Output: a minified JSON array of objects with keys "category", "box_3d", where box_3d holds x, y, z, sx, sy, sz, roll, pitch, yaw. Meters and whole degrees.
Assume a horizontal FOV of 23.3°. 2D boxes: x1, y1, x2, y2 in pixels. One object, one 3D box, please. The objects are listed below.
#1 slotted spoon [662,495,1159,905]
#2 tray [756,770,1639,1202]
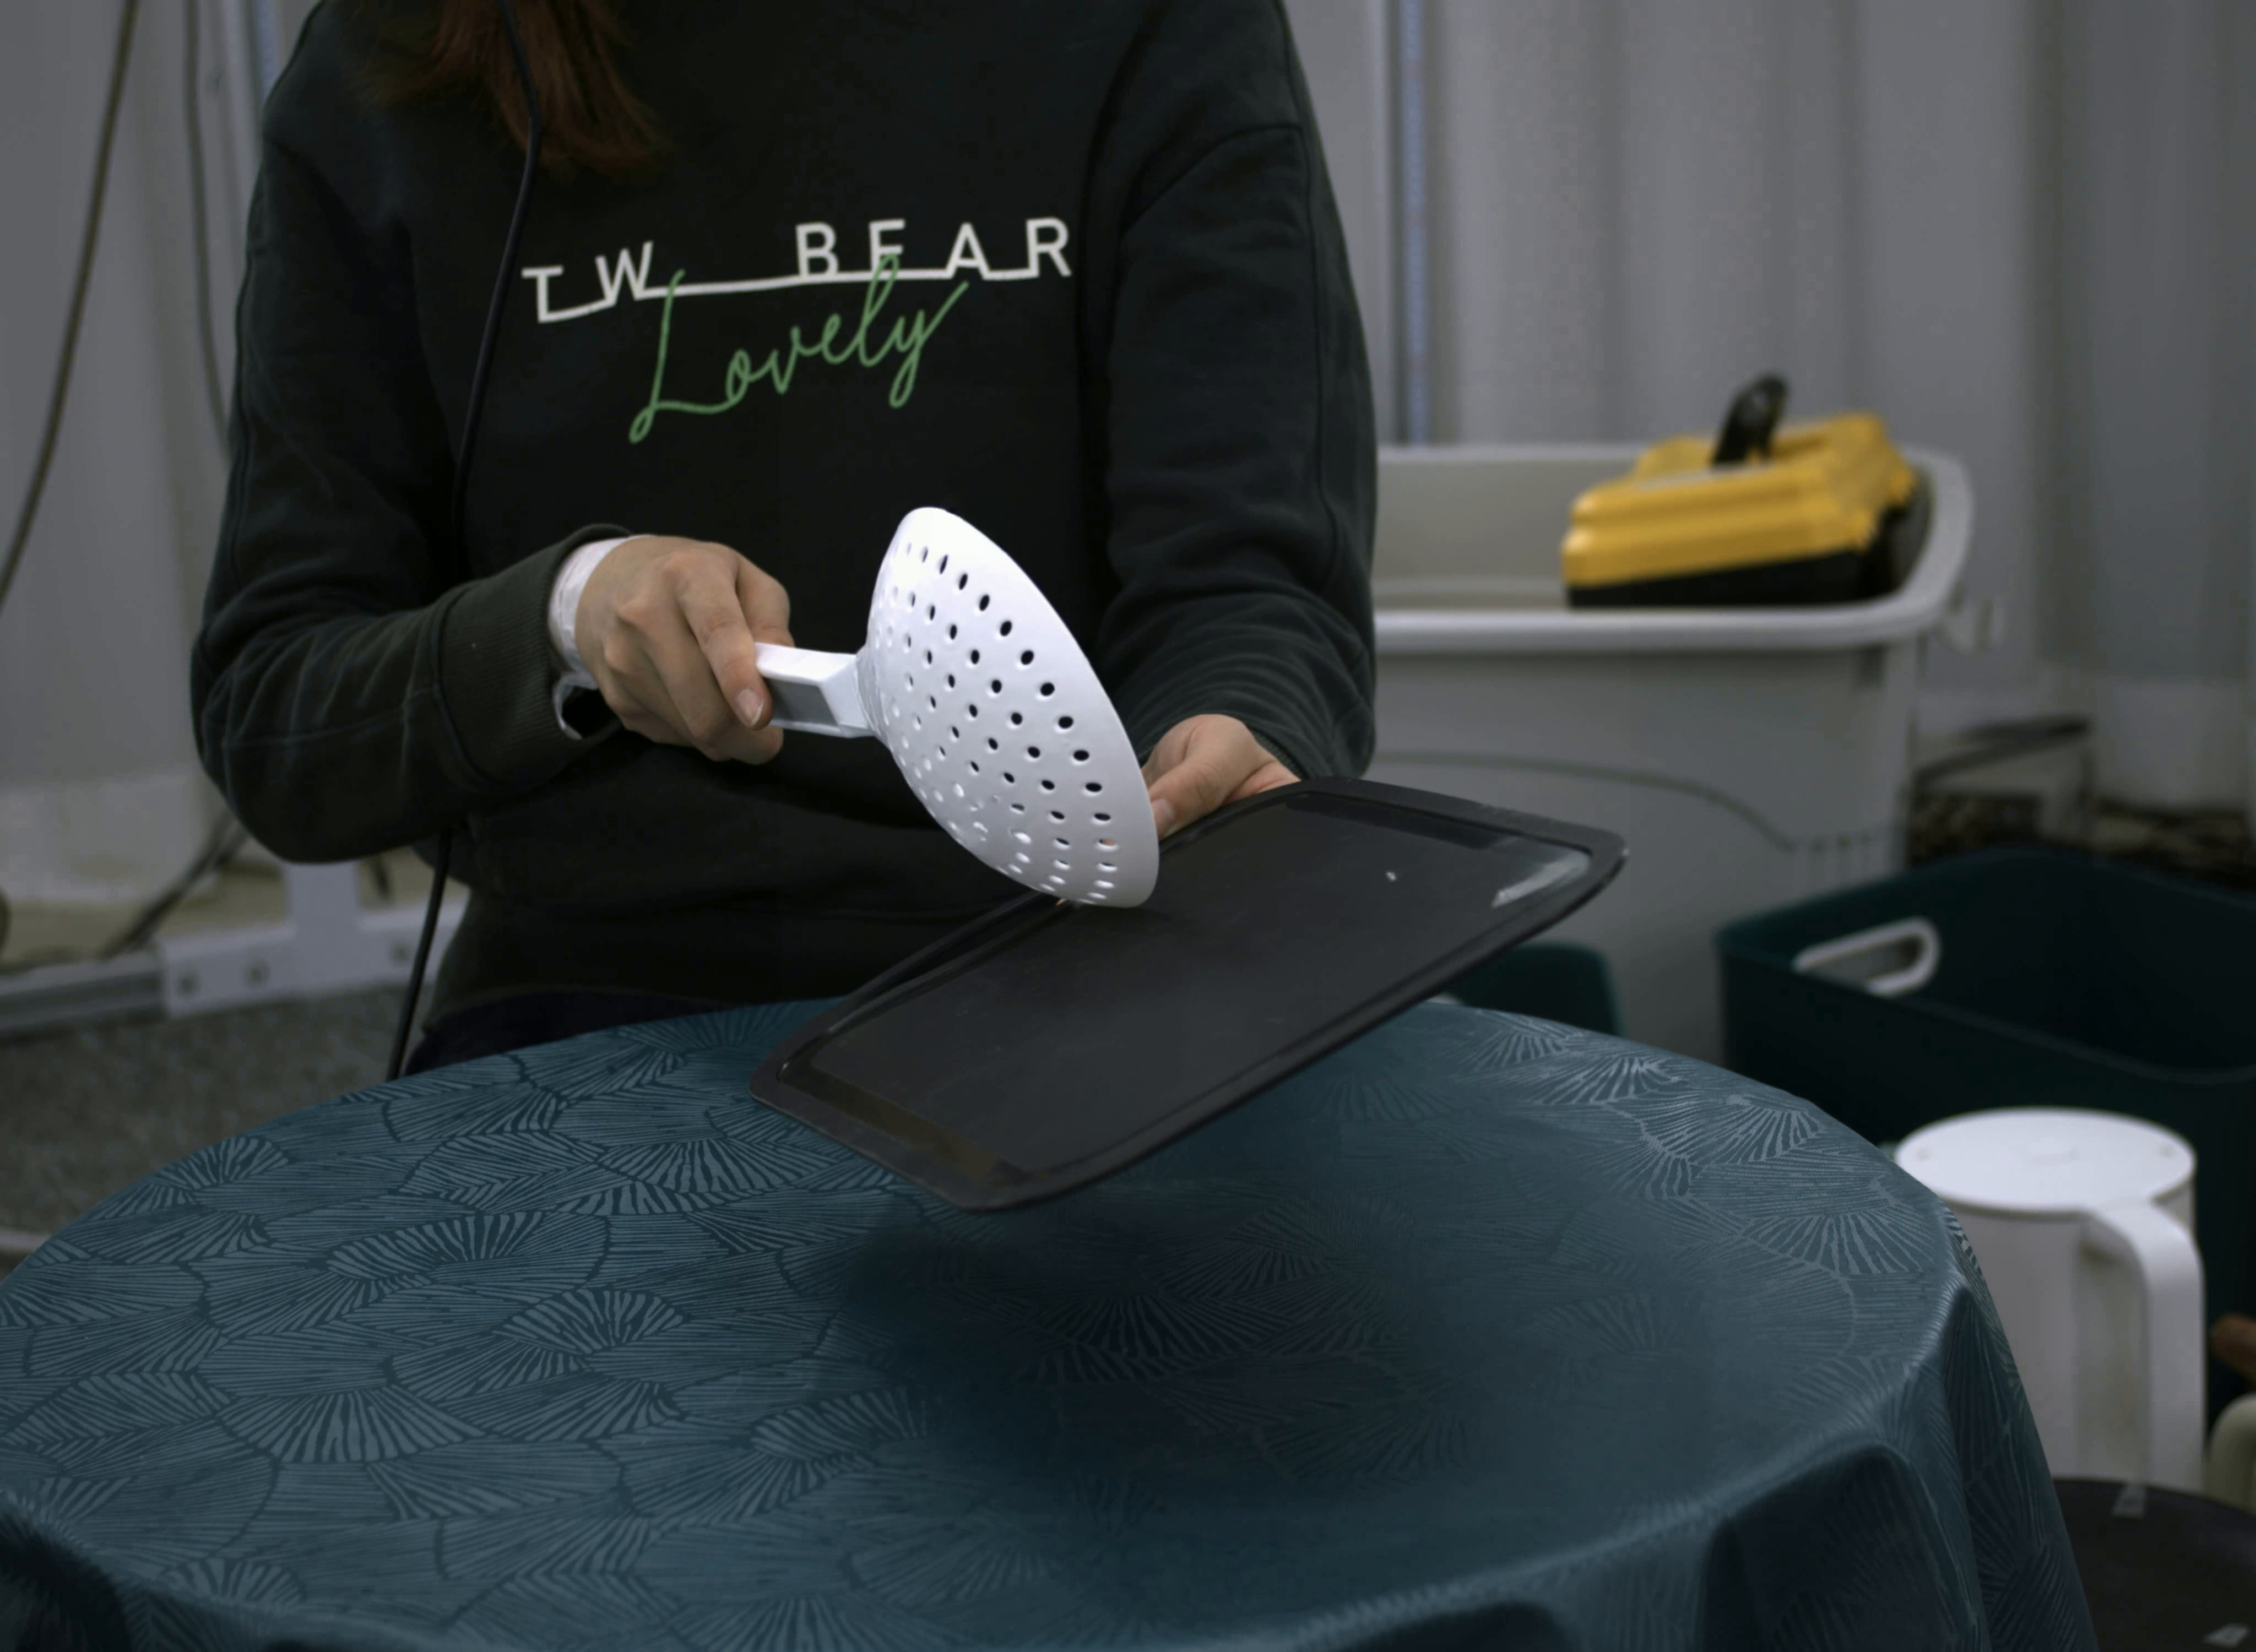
[{"category":"slotted spoon","box_3d":[-0.081,-0.042,1.739,0.046,0.135,0.351,-27,14,-16]},{"category":"tray","box_3d":[0.008,0.040,1.572,0.211,0.010,0.327,-29,13,-14]}]
